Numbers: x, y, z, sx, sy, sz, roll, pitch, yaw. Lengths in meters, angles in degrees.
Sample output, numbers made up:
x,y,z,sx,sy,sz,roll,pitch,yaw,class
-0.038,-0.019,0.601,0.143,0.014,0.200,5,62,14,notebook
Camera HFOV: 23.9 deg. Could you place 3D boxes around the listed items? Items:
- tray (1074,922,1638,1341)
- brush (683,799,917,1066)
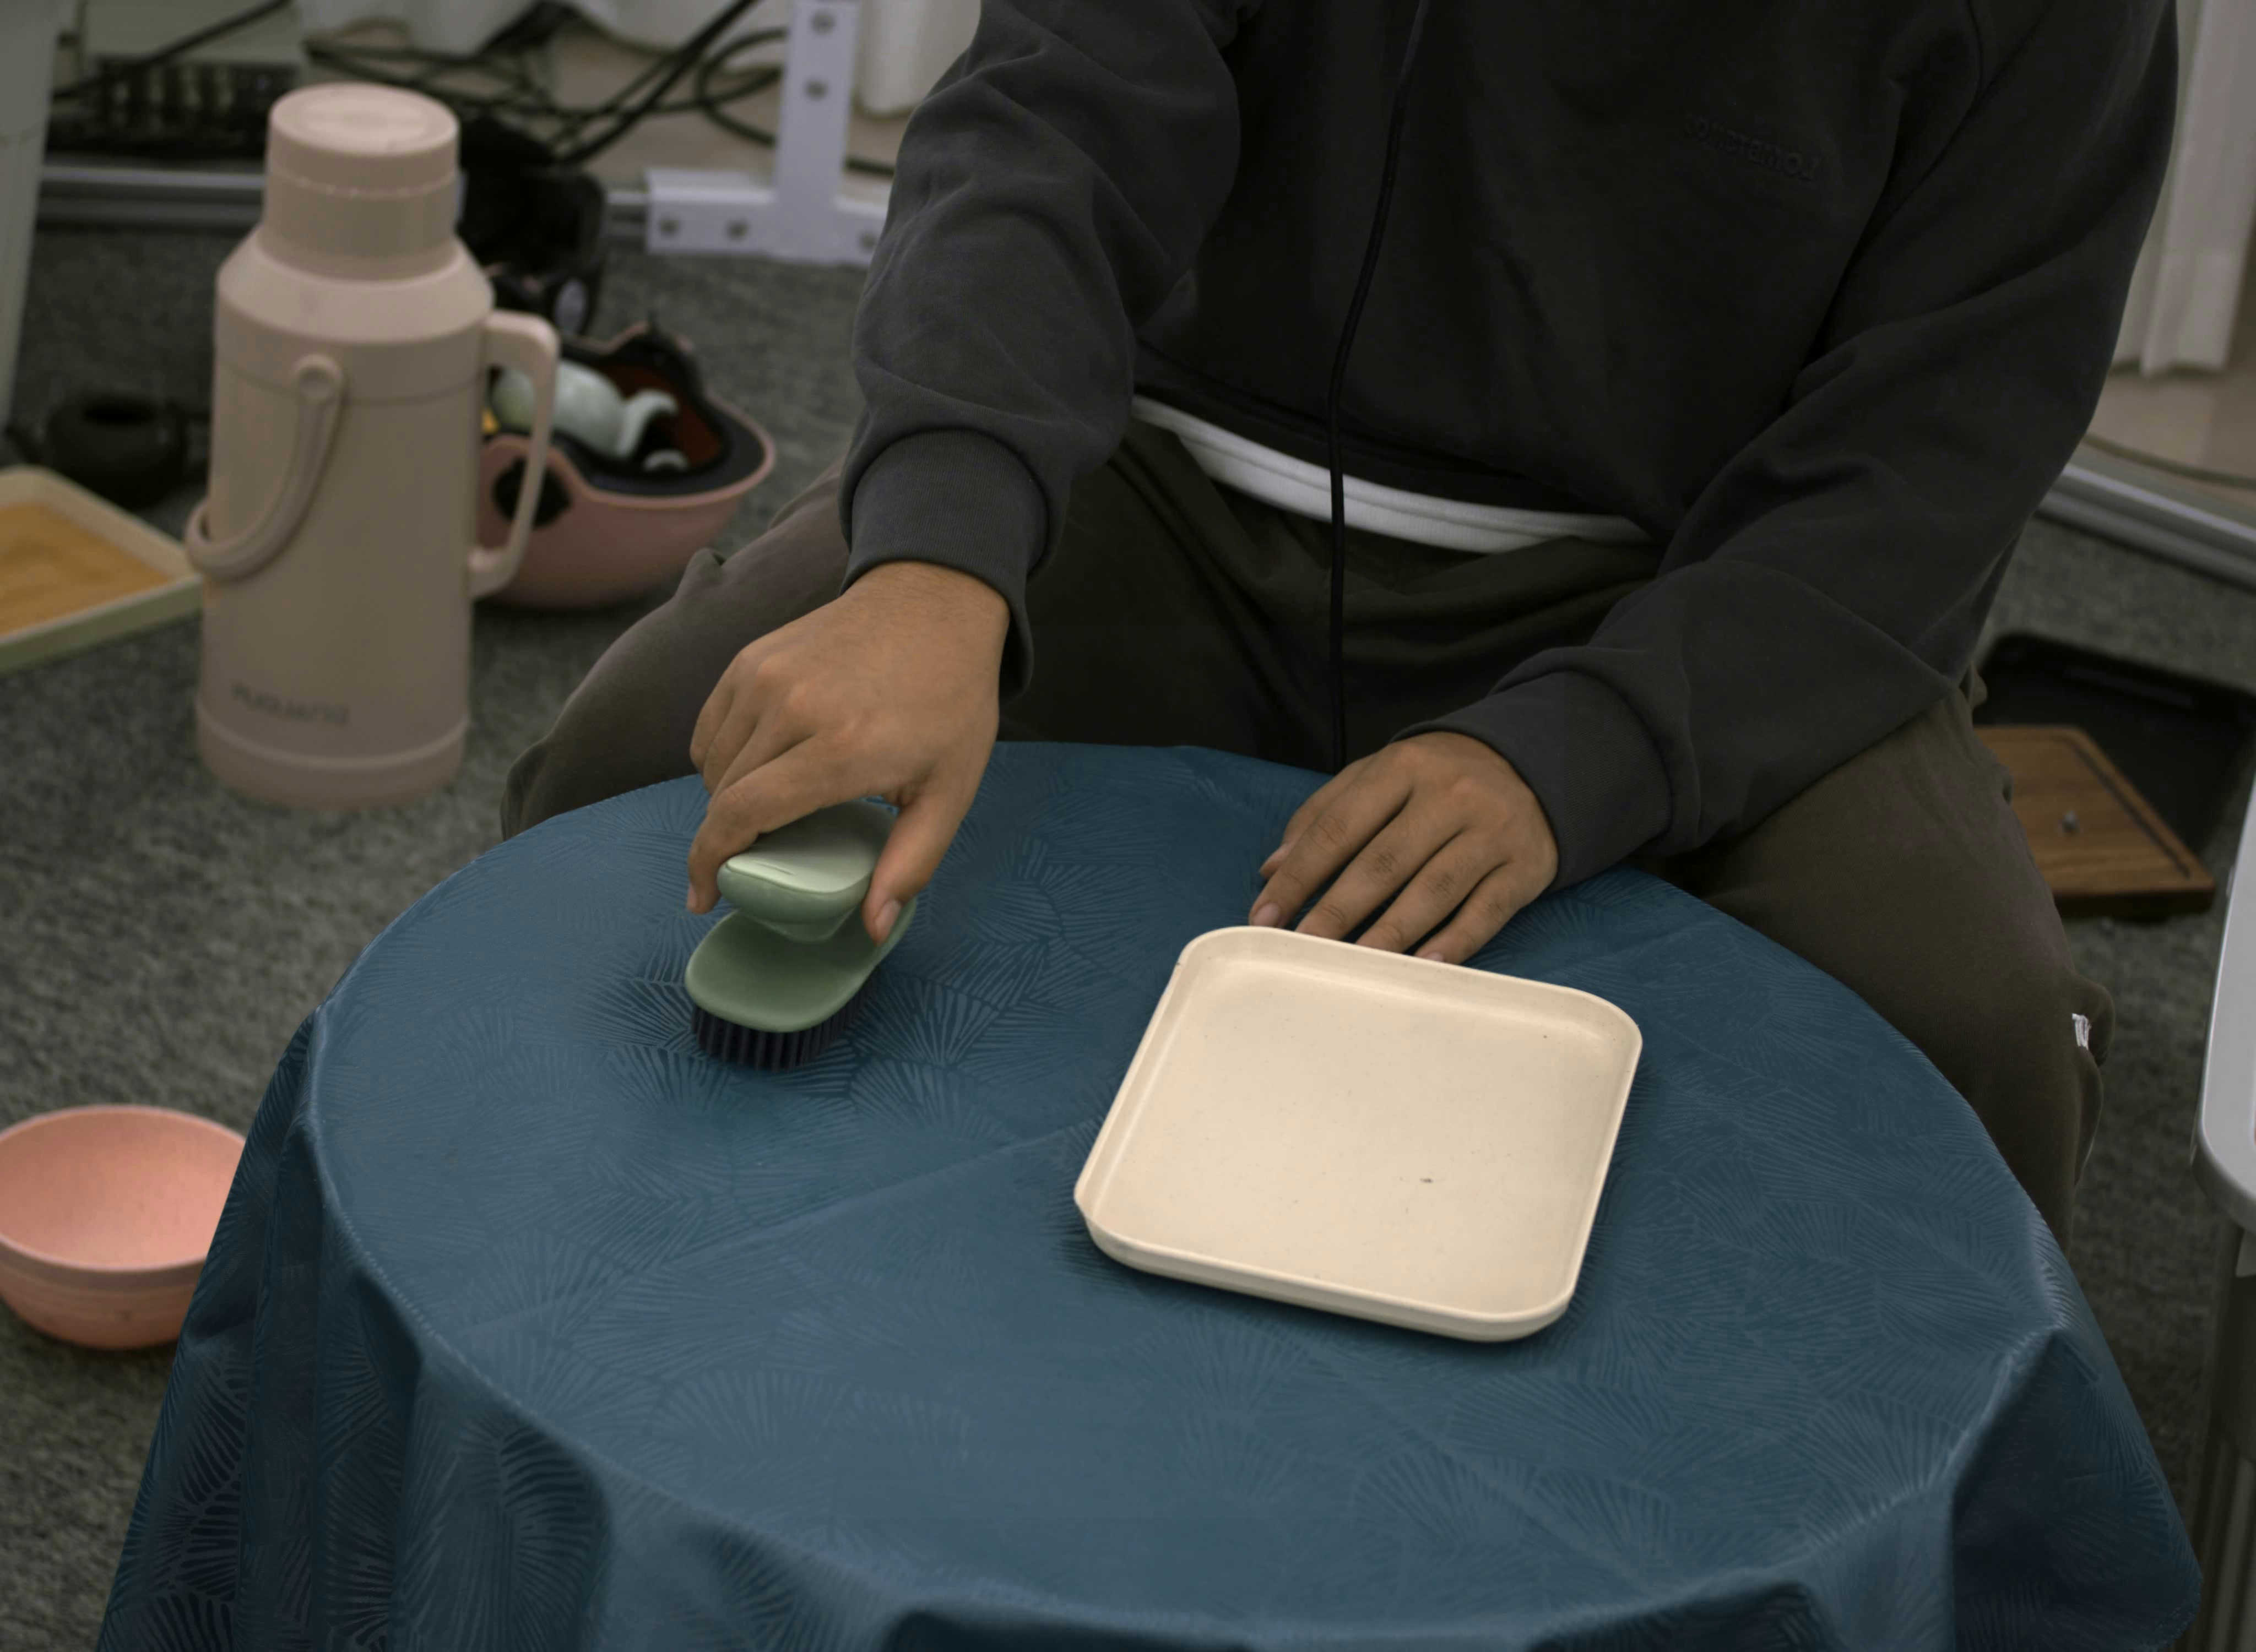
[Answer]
x,y,z,sx,sy,sz,roll,pitch,yaw,class
0.082,0.105,1.843,0.171,0.017,0.240,12,27,8,tray
-0.115,0.036,1.884,0.060,0.075,0.123,19,19,13,brush
